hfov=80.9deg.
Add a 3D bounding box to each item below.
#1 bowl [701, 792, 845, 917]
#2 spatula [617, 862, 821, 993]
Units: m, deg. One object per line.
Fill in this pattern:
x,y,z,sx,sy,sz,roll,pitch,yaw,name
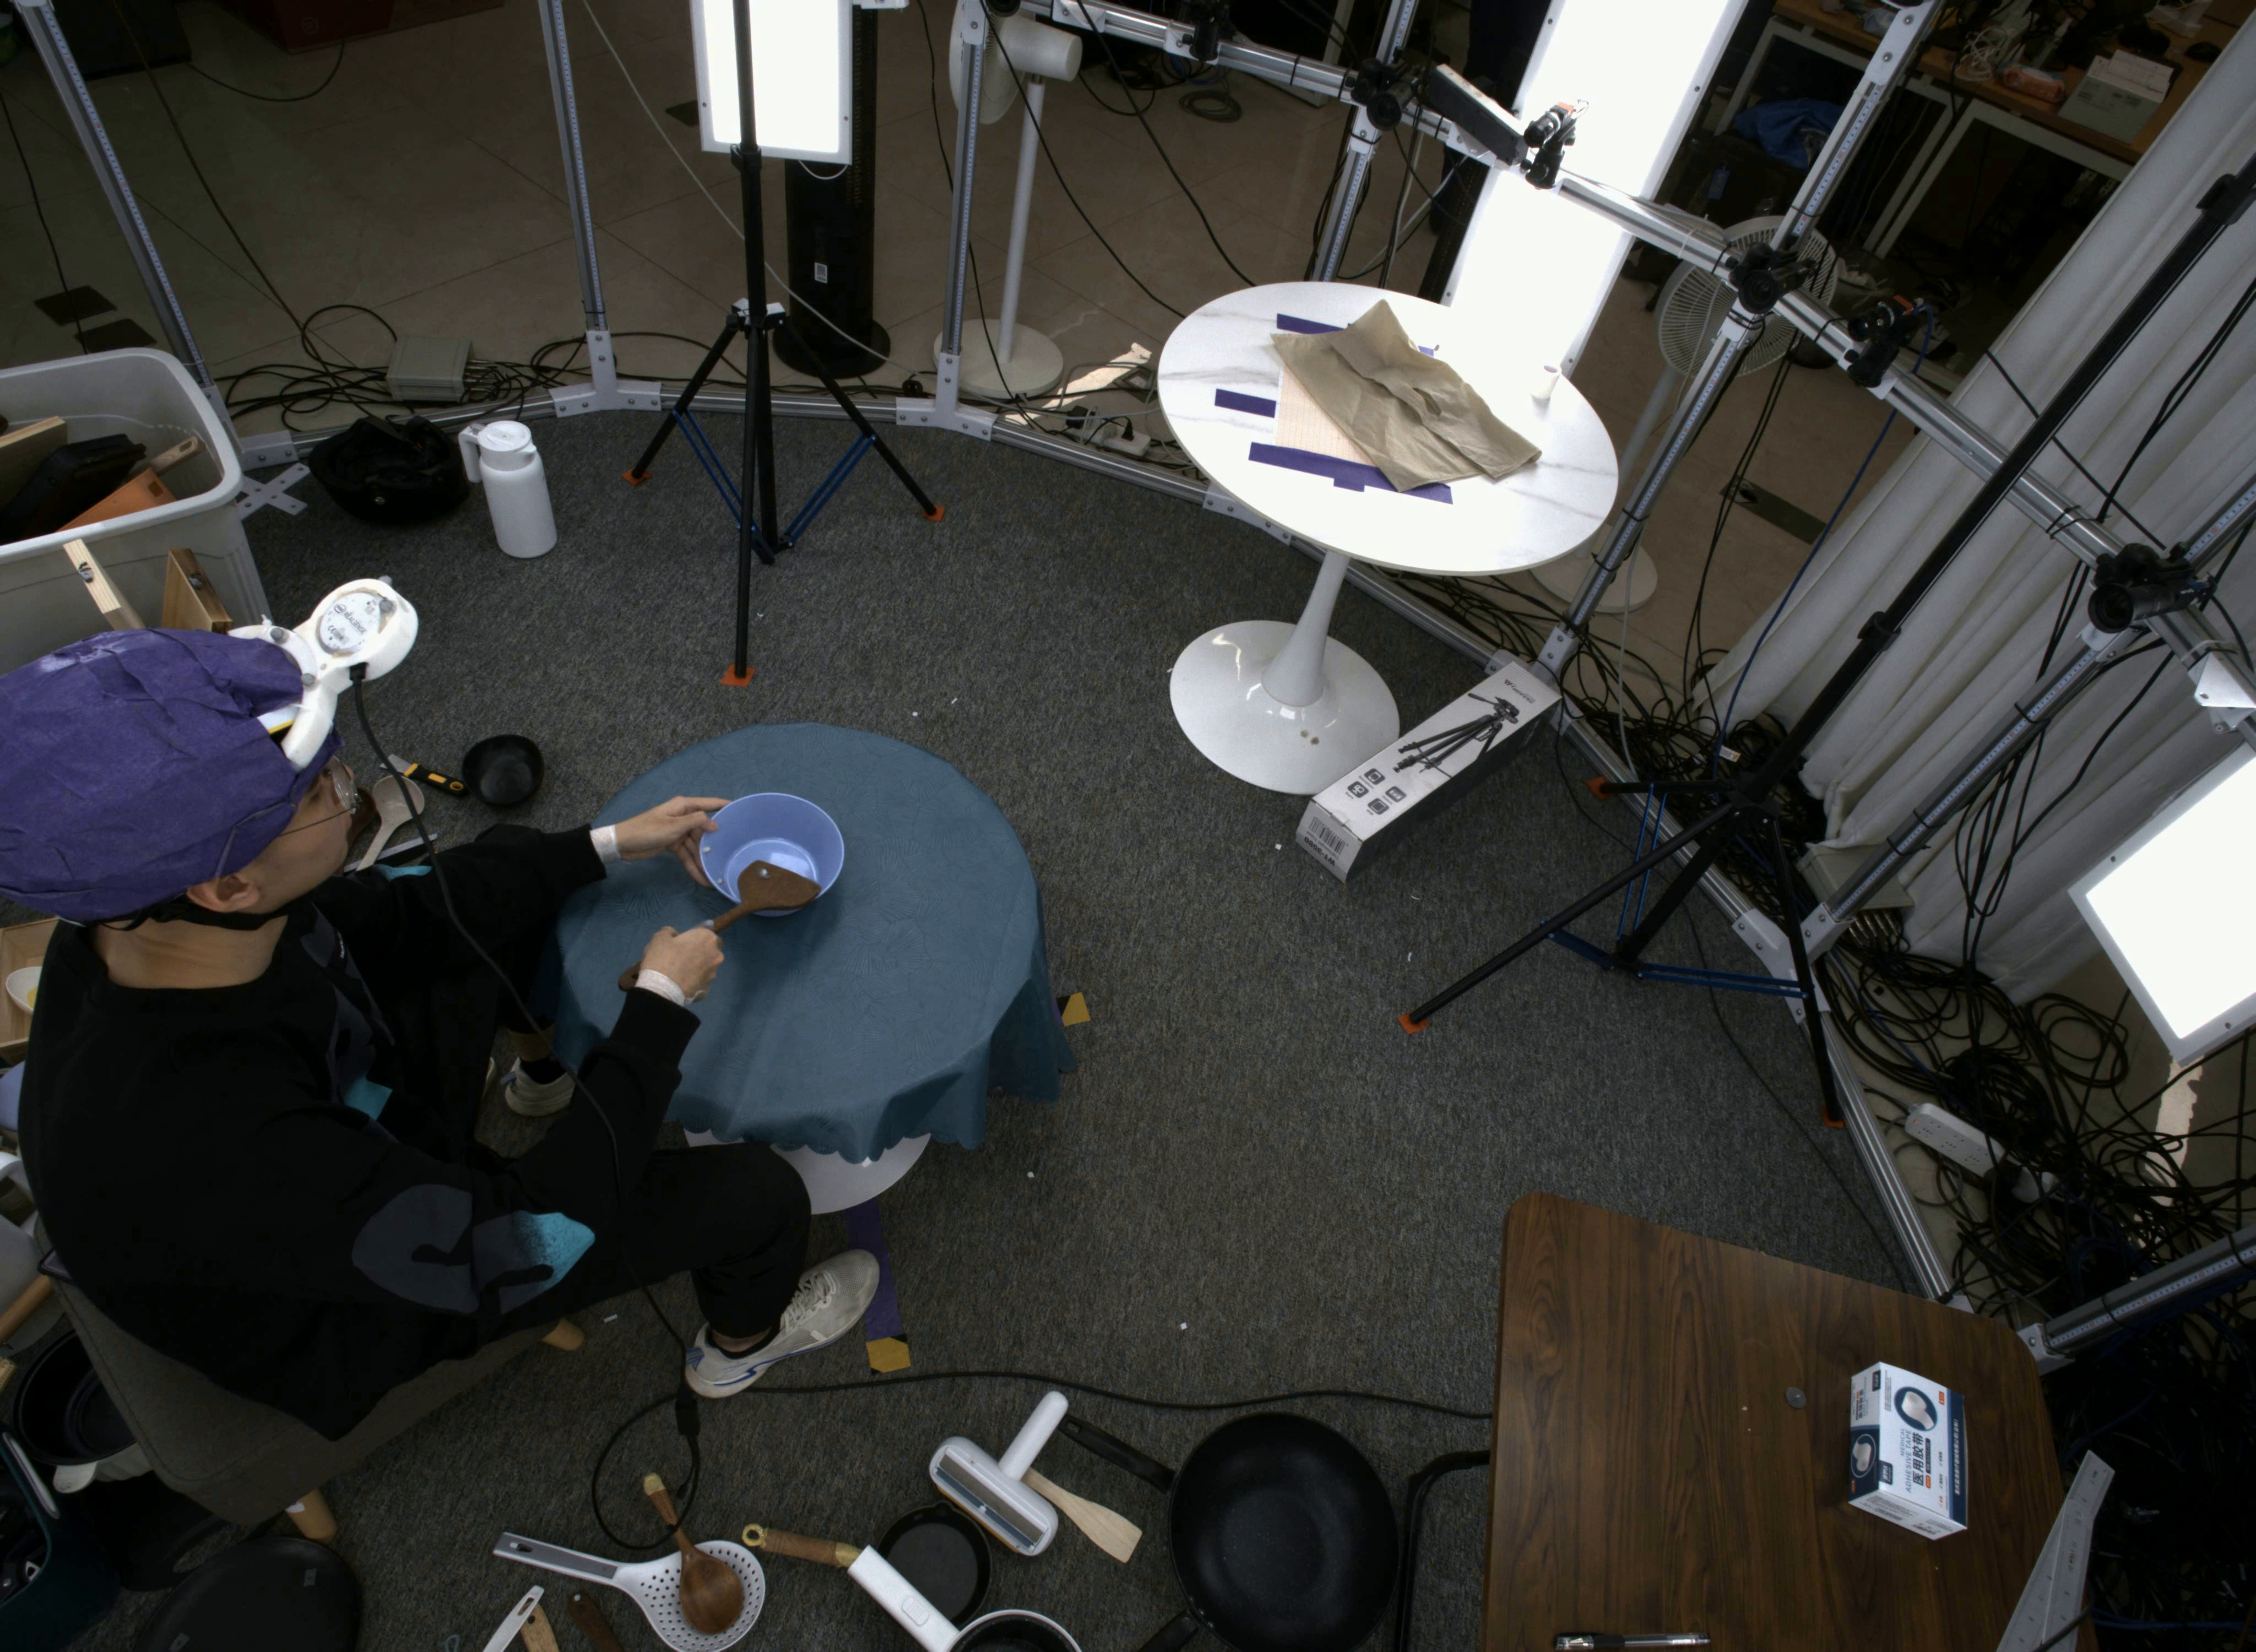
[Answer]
-0.448,0.046,1.639,0.176,0.071,0.173,8,54,-10,bowl
-0.457,0.107,1.435,0.095,0.016,0.384,24,18,5,spatula
